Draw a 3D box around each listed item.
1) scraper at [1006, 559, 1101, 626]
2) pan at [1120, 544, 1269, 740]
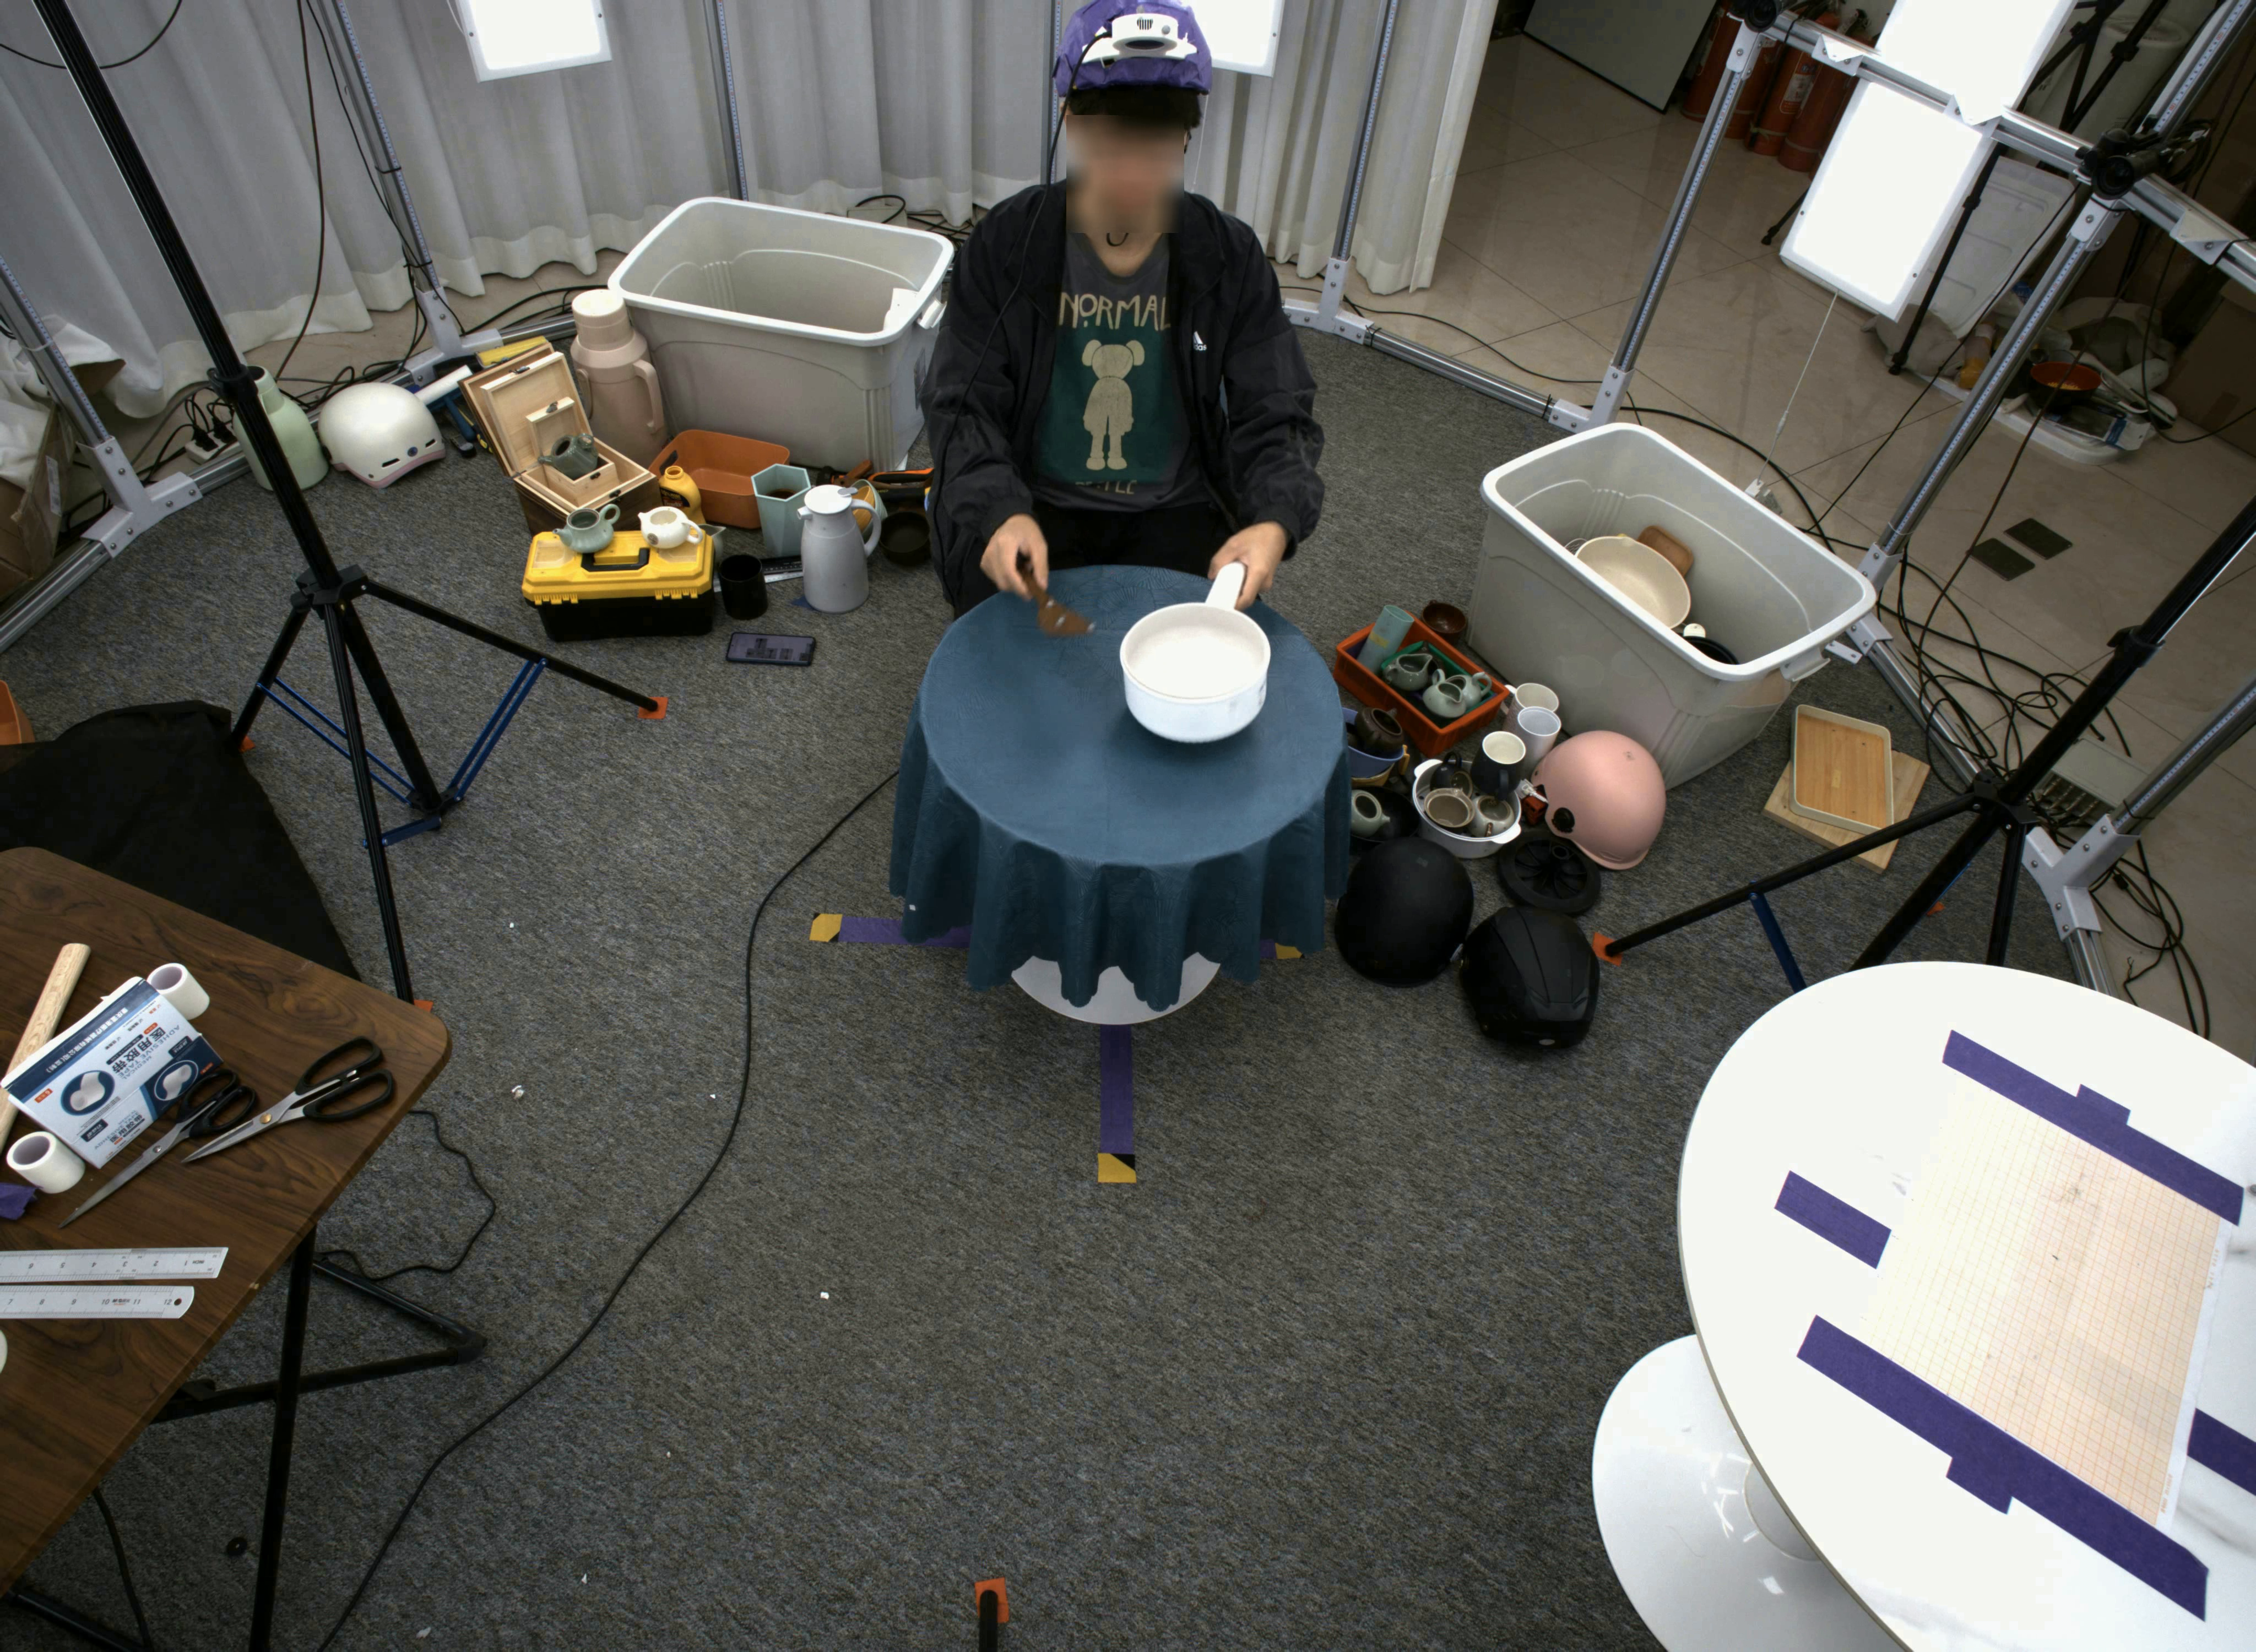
[{"bbox_3d":[-0.113,-0.319,1.755,0.075,0.010,0.216,-6,37,-30],"label":"scraper"},{"bbox_3d":[0.117,-0.260,1.805,0.202,0.099,0.362,10,46,17],"label":"pan"}]
